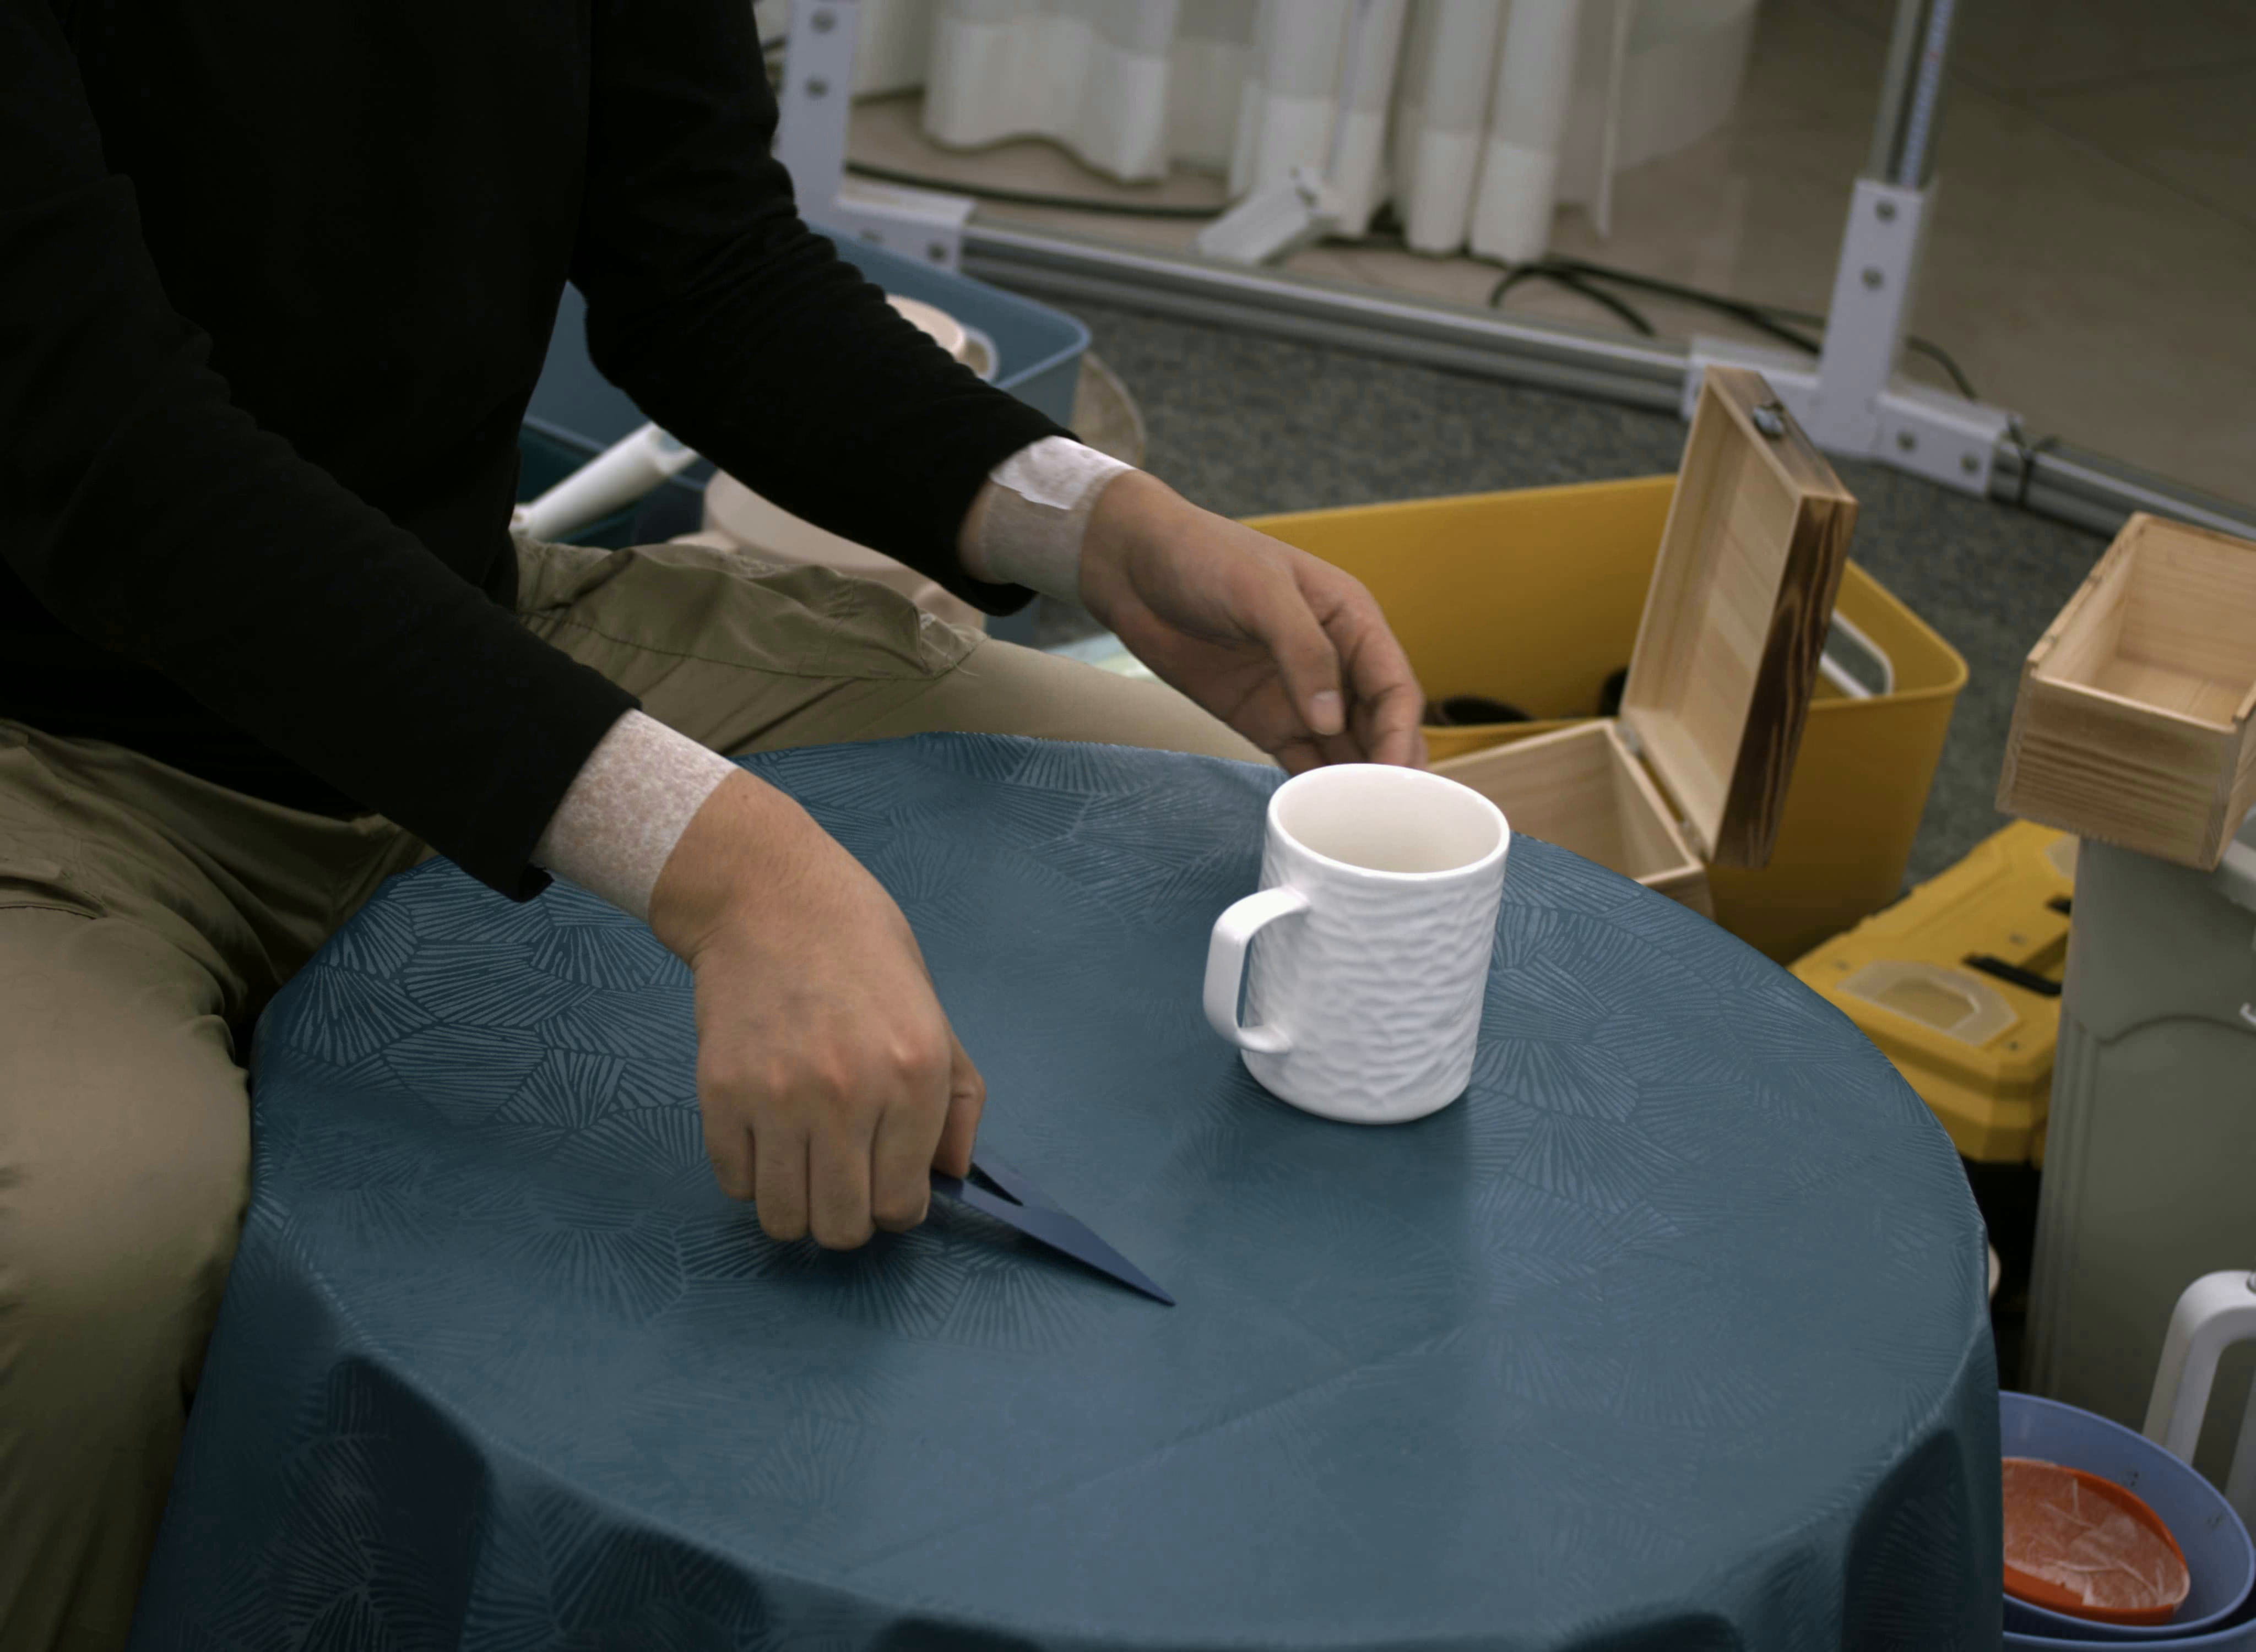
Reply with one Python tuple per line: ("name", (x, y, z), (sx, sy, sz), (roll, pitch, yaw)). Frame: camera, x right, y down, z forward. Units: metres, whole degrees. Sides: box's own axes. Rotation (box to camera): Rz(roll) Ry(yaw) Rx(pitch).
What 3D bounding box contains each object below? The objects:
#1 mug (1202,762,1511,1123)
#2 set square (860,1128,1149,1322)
("mug", (0.074, 0.045, 1.860), (0.117, 0.101, 0.085), (-16, 35, -39))
("set square", (-0.046, 0.130, 1.758), (0.060, 0.006, 0.133), (4, 23, -36))
